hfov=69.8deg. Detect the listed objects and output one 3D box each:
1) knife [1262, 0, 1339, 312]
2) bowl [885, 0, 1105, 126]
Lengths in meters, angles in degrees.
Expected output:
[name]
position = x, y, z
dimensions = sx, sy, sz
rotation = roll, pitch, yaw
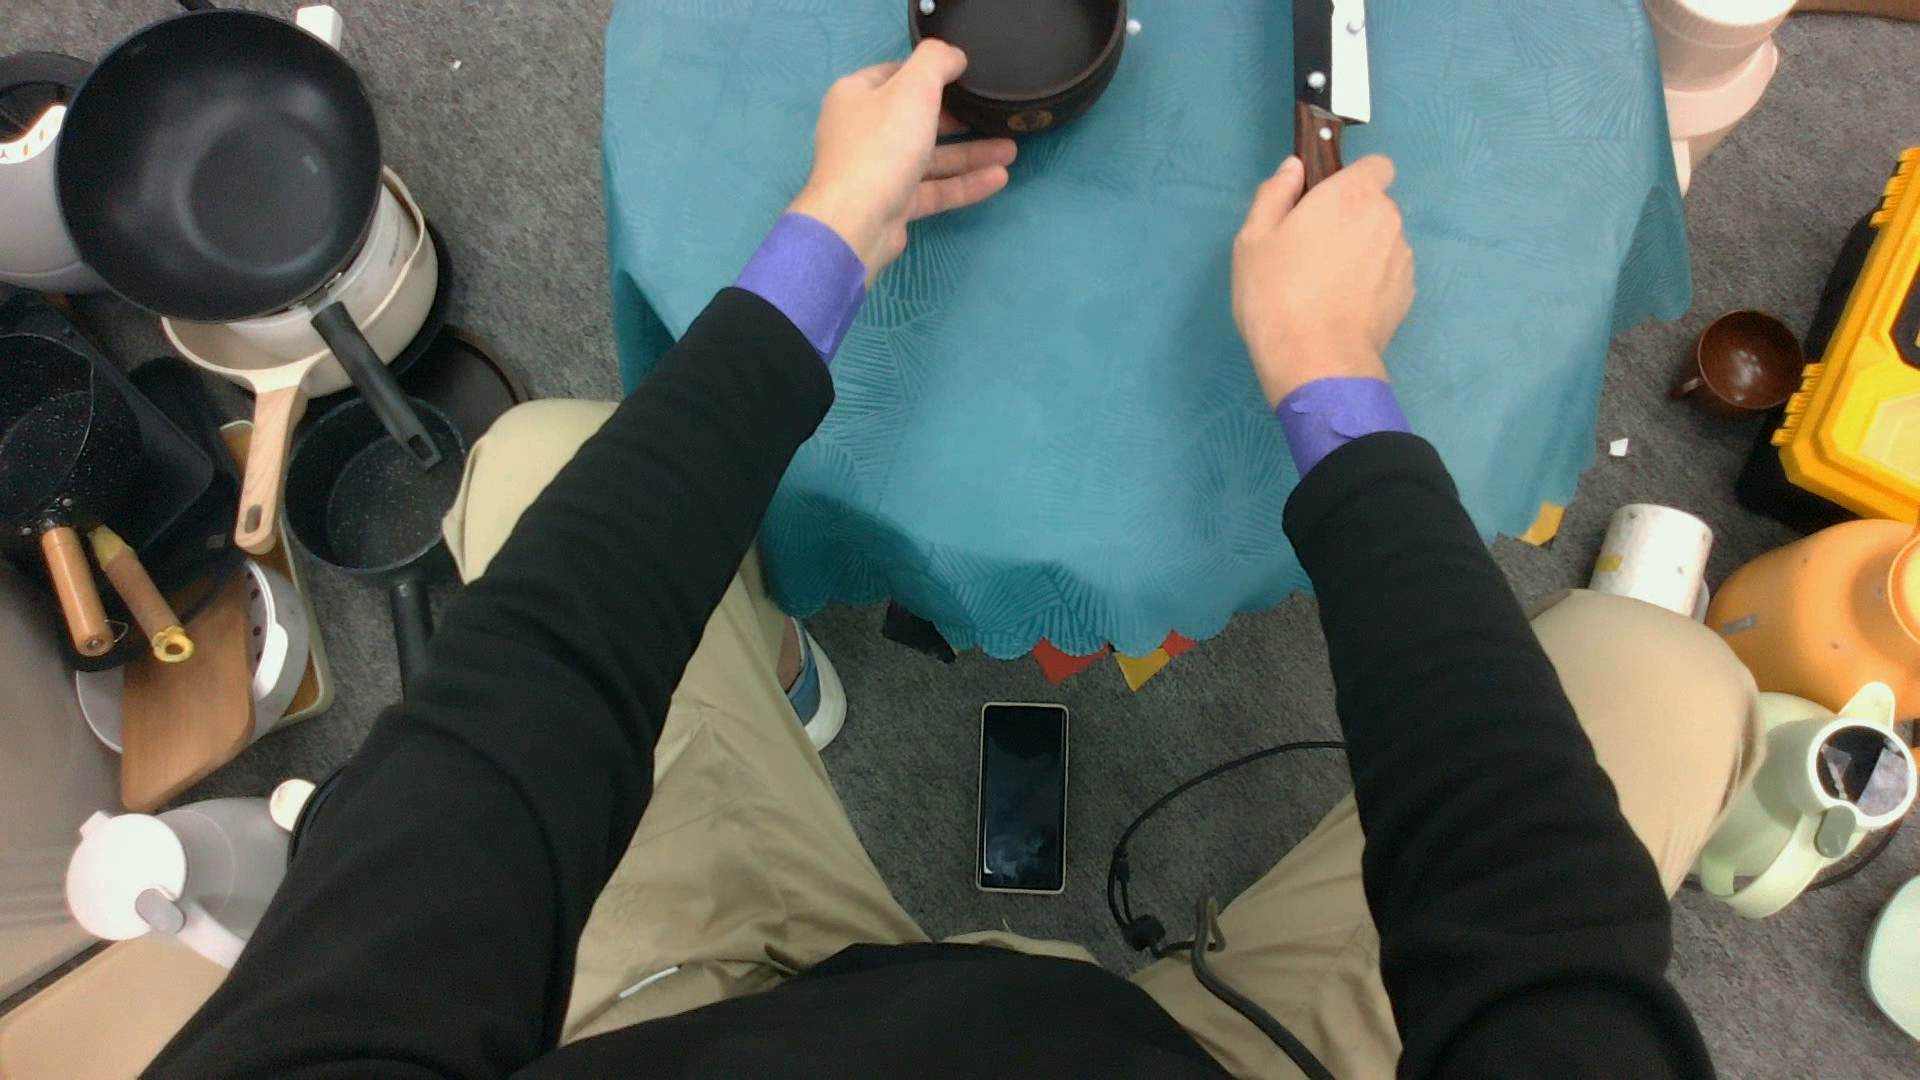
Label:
[knife]
position = 0.184, -0.256, 0.749
dimensions = 0.050, 0.020, 0.290
rotation = 9, 73, -15
[bowl]
position = 0.020, -0.281, 0.757
dimensions = 0.118, 0.070, 0.118
rotation = 0, 77, 2
